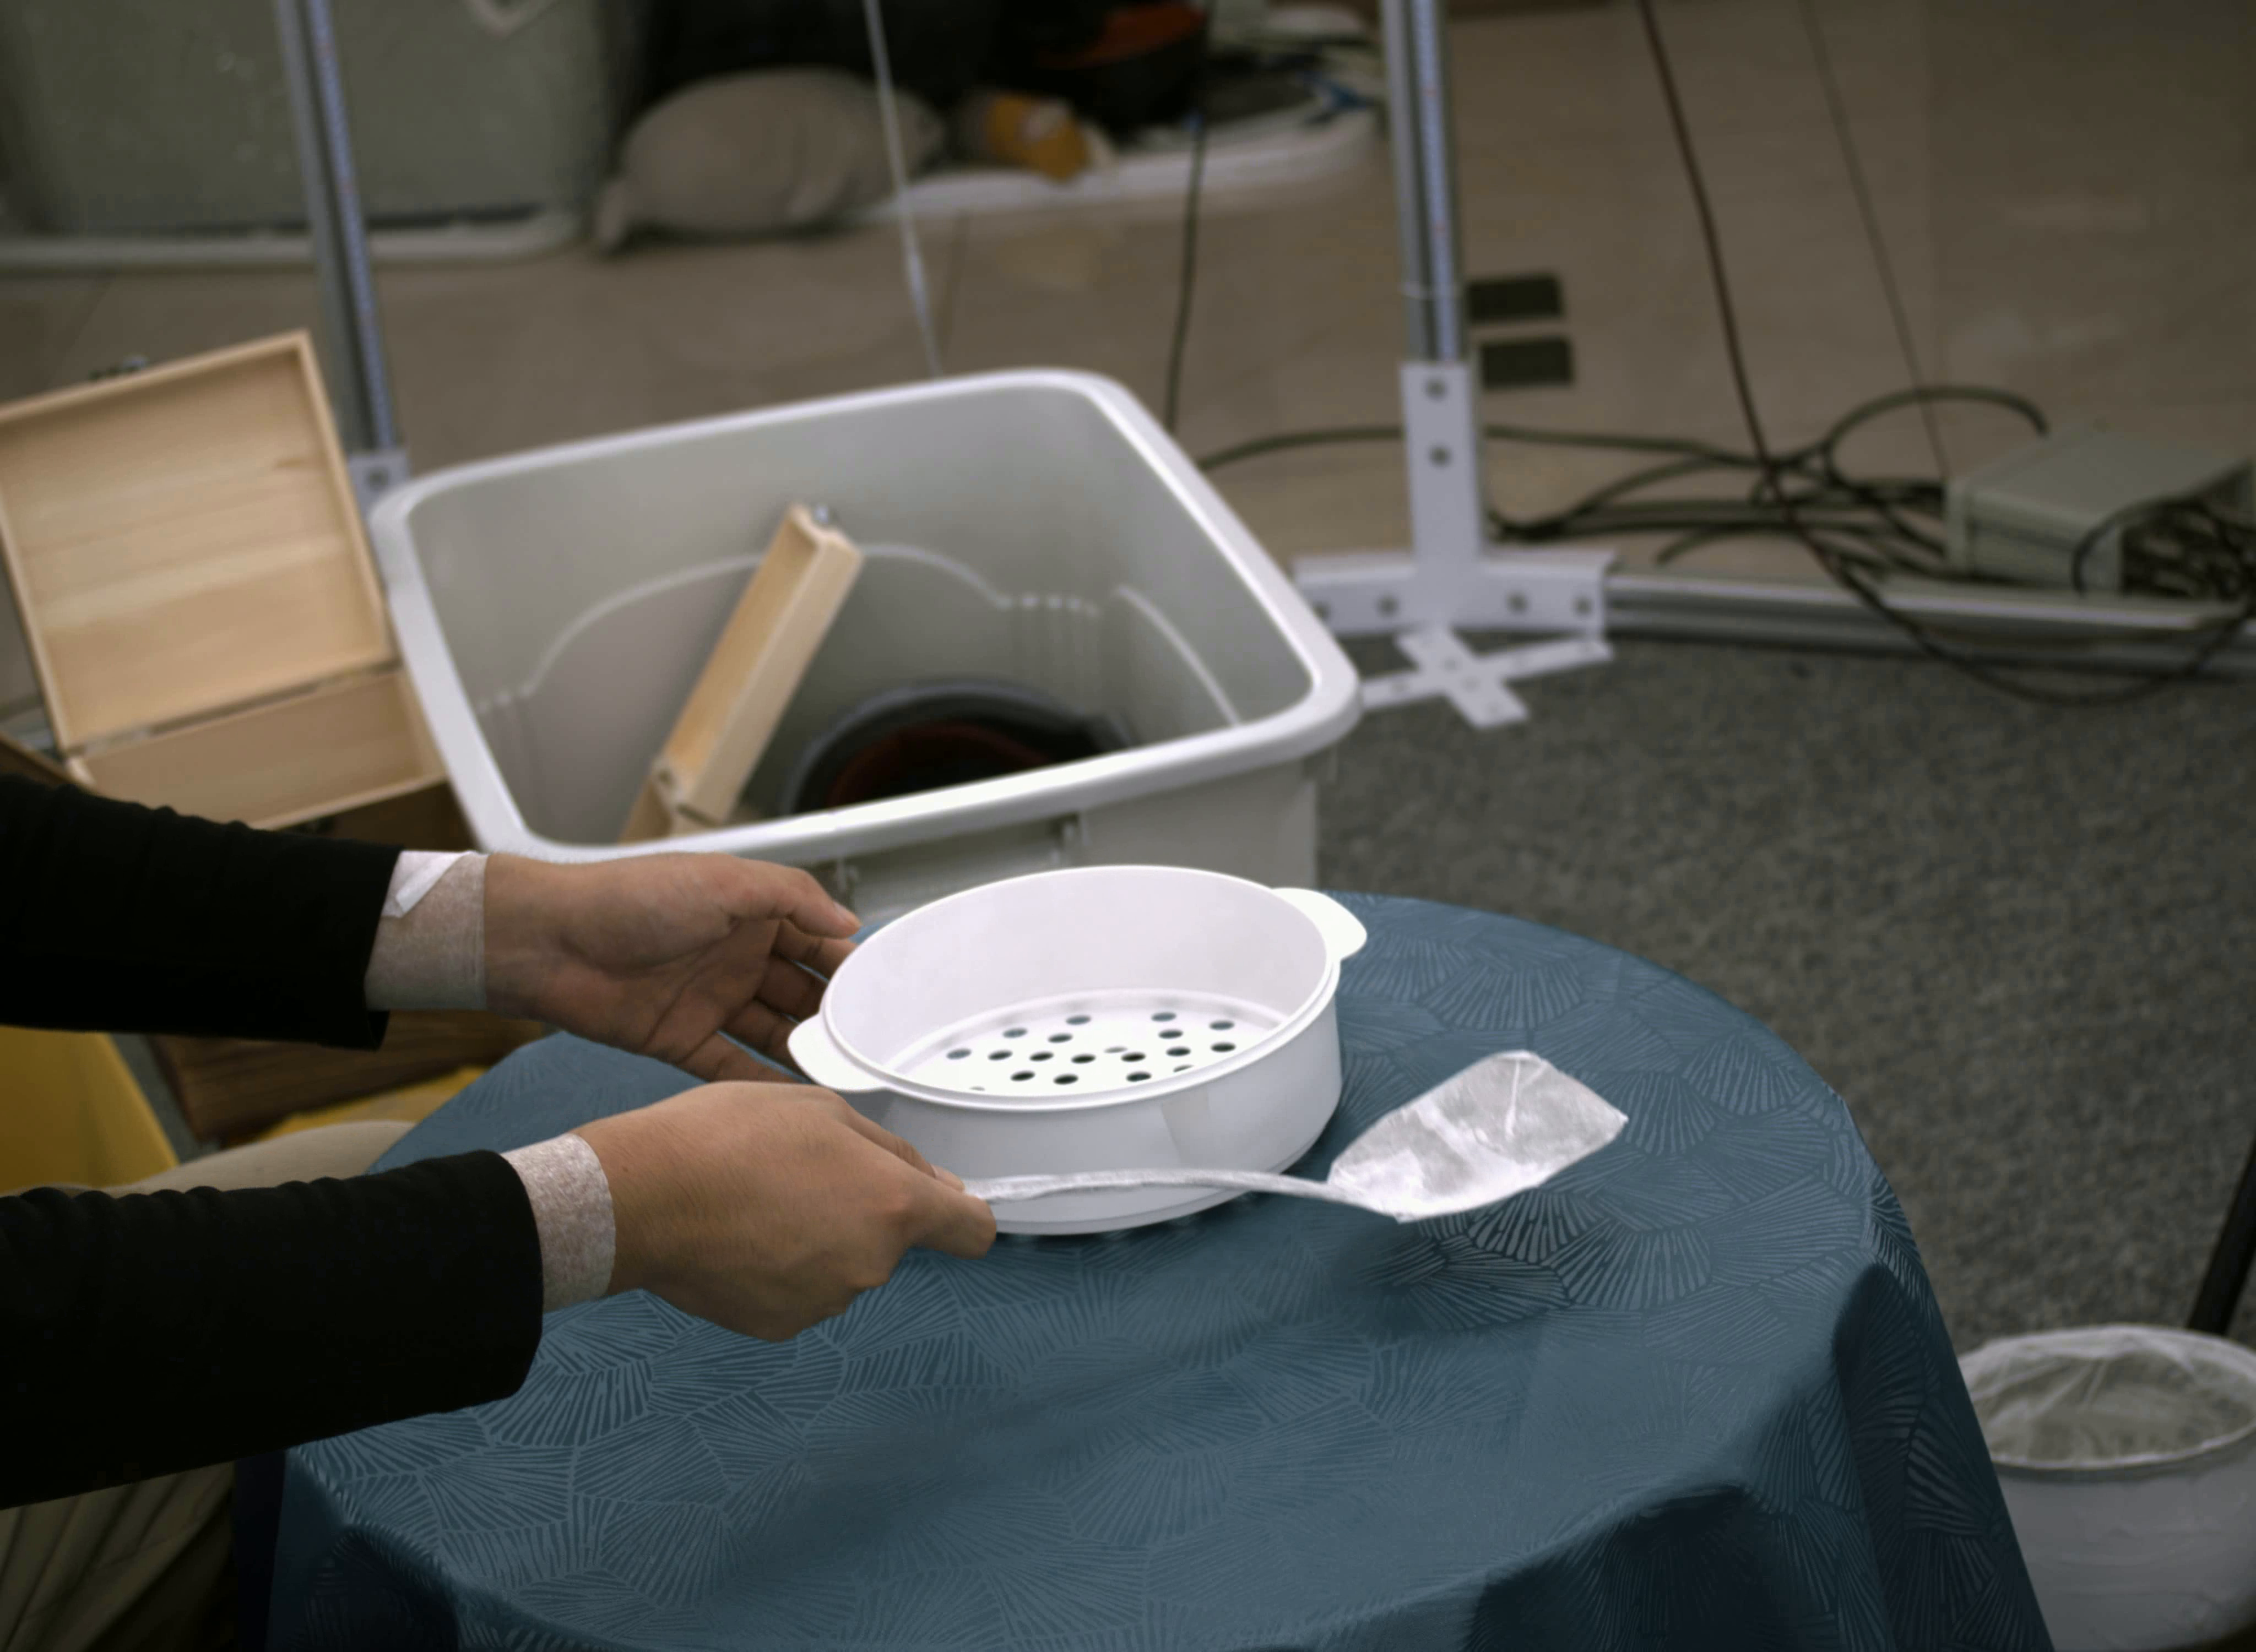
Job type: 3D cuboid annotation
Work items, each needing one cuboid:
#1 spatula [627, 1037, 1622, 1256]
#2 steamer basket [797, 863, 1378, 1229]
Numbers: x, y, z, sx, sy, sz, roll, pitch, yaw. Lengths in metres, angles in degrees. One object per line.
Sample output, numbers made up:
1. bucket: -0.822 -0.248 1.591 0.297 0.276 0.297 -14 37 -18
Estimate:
1. spatula: 0.000 0.120 2.010 0.364 0.045 0.097 -3 21 -22
2. steamer basket: -0.011 0.085 2.183 0.230 0.070 0.199 -16 26 -17
